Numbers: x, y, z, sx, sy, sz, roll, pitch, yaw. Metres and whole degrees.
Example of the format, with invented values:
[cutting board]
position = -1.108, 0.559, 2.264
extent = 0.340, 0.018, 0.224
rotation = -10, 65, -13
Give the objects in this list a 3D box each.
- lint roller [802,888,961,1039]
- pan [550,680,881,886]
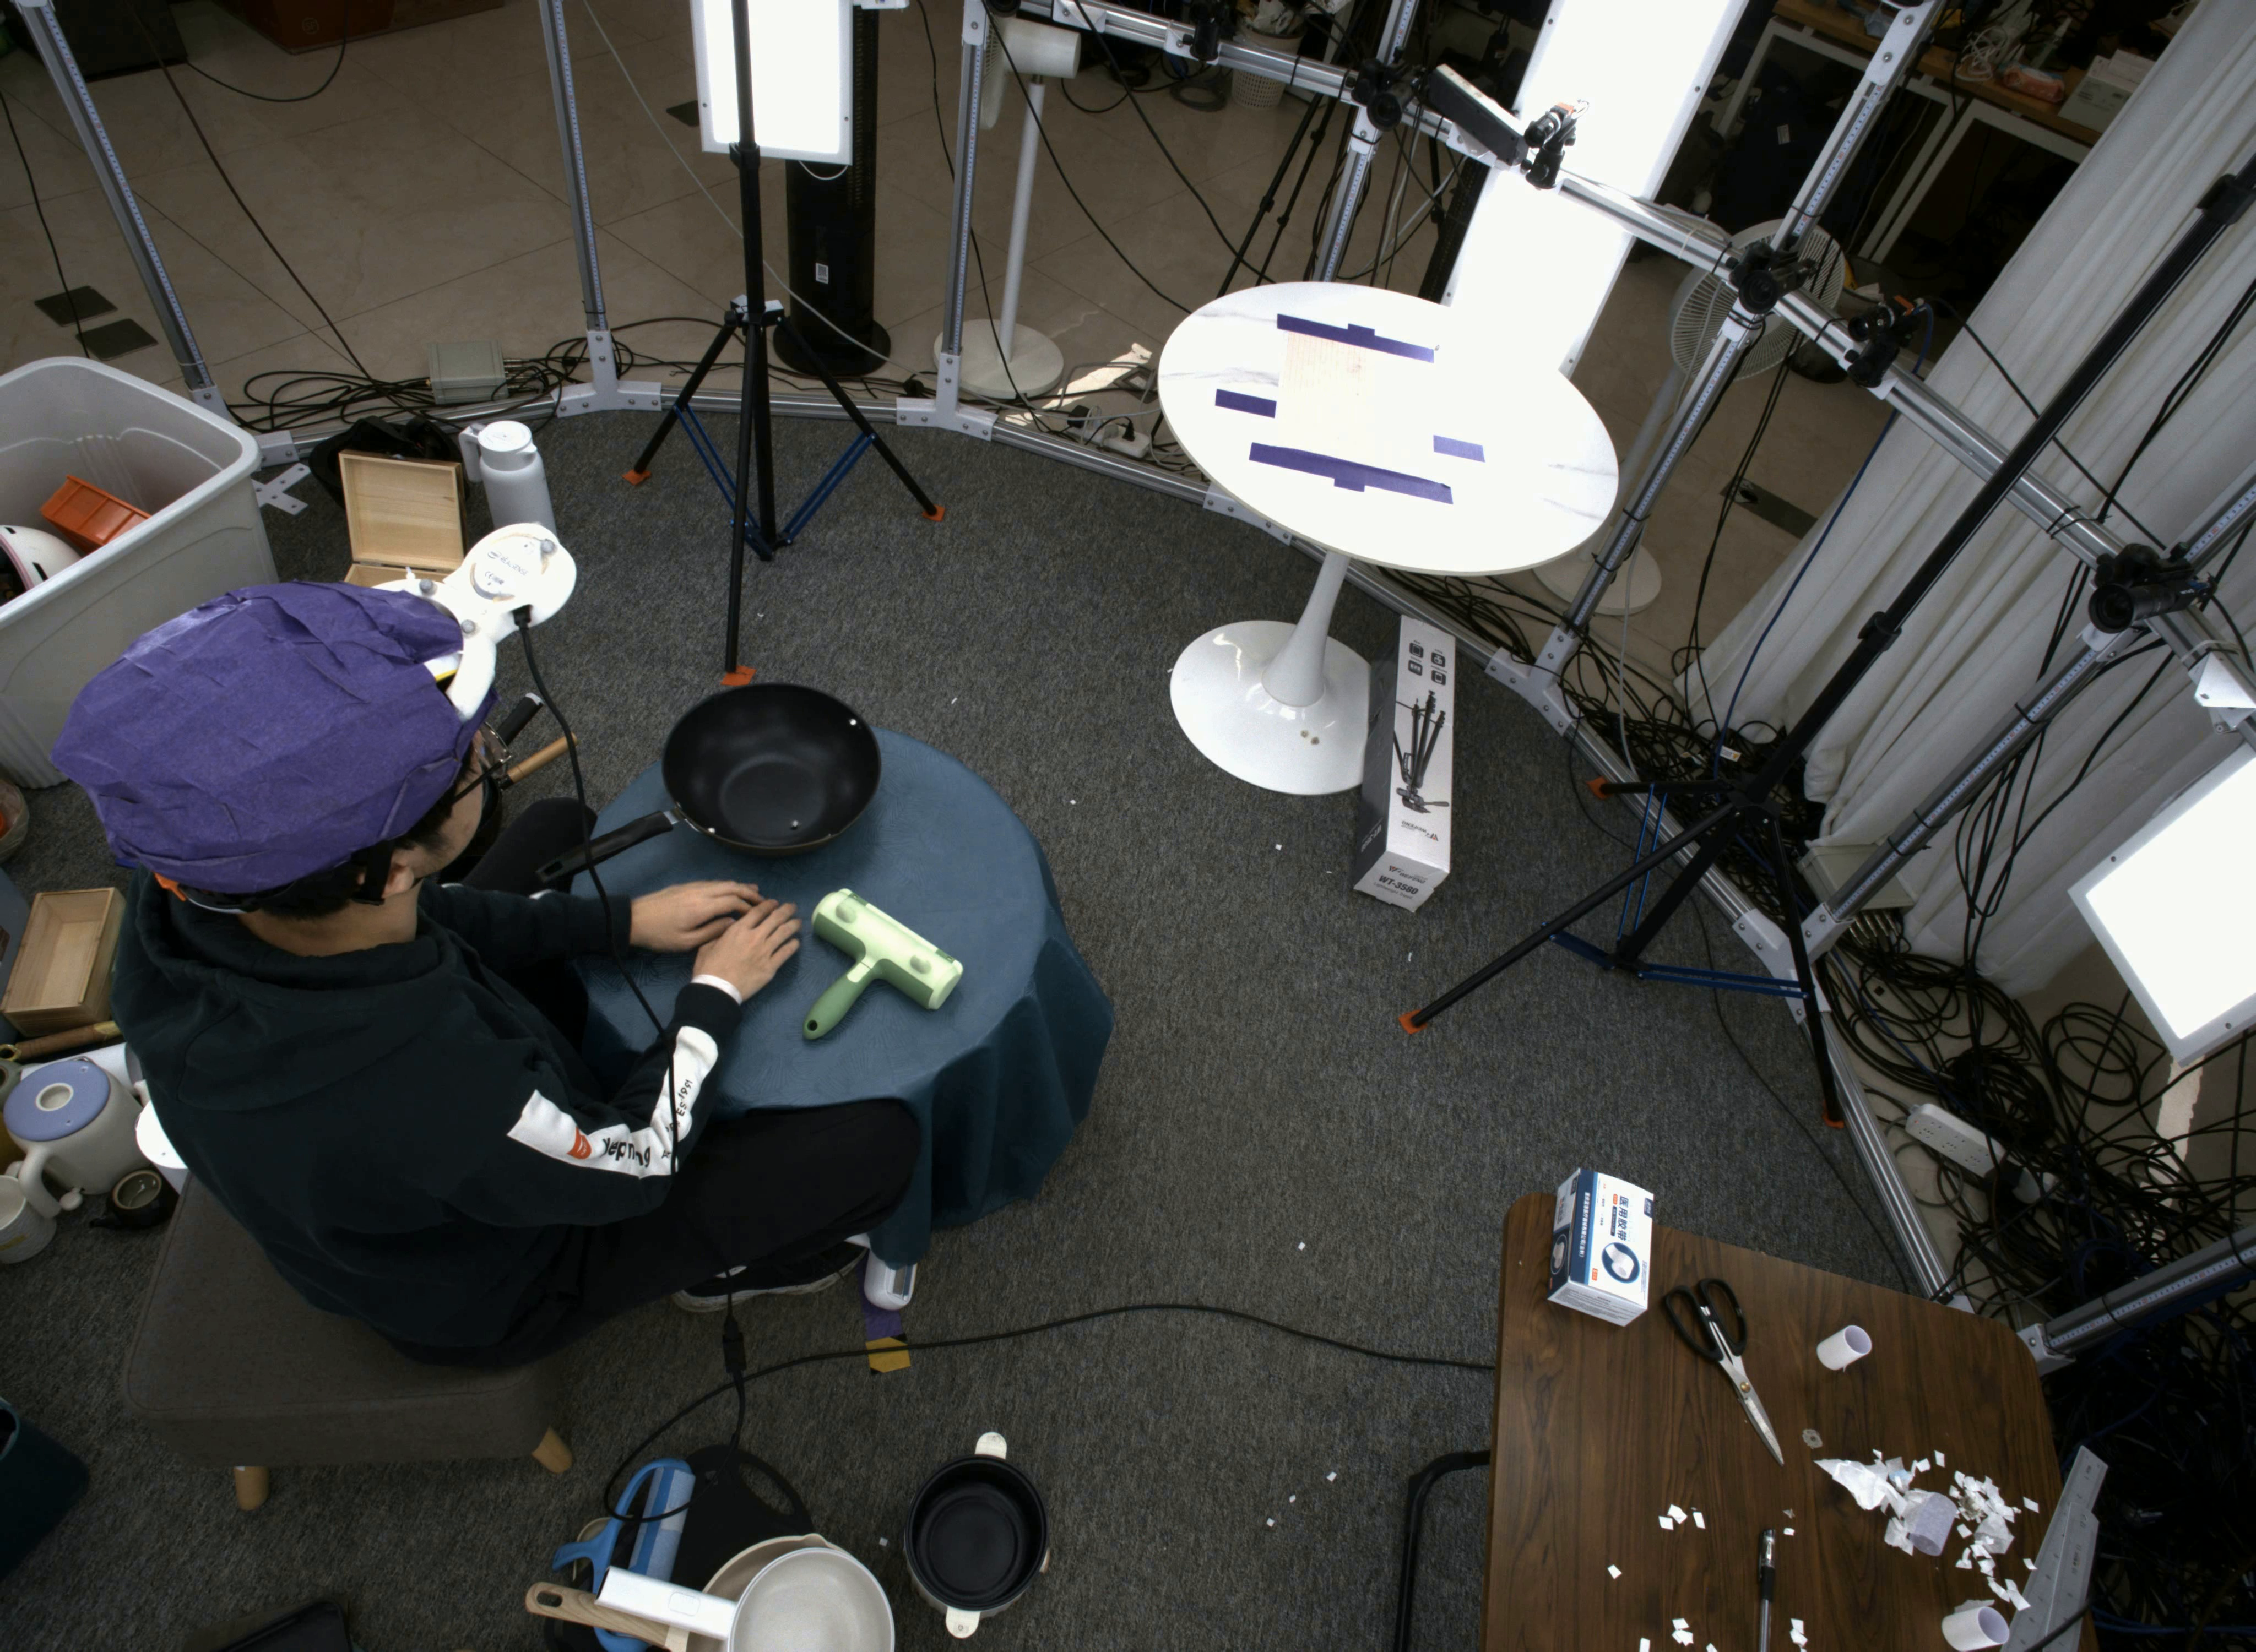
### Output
[lint roller]
position = -0.330, 0.176, 1.576
extent = 0.195, 0.084, 0.183
rotation = 33, 47, 10
[pan]
position = -0.533, -0.020, 1.662
extent = 0.464, 0.088, 0.281
rotation = -33, 67, -31
